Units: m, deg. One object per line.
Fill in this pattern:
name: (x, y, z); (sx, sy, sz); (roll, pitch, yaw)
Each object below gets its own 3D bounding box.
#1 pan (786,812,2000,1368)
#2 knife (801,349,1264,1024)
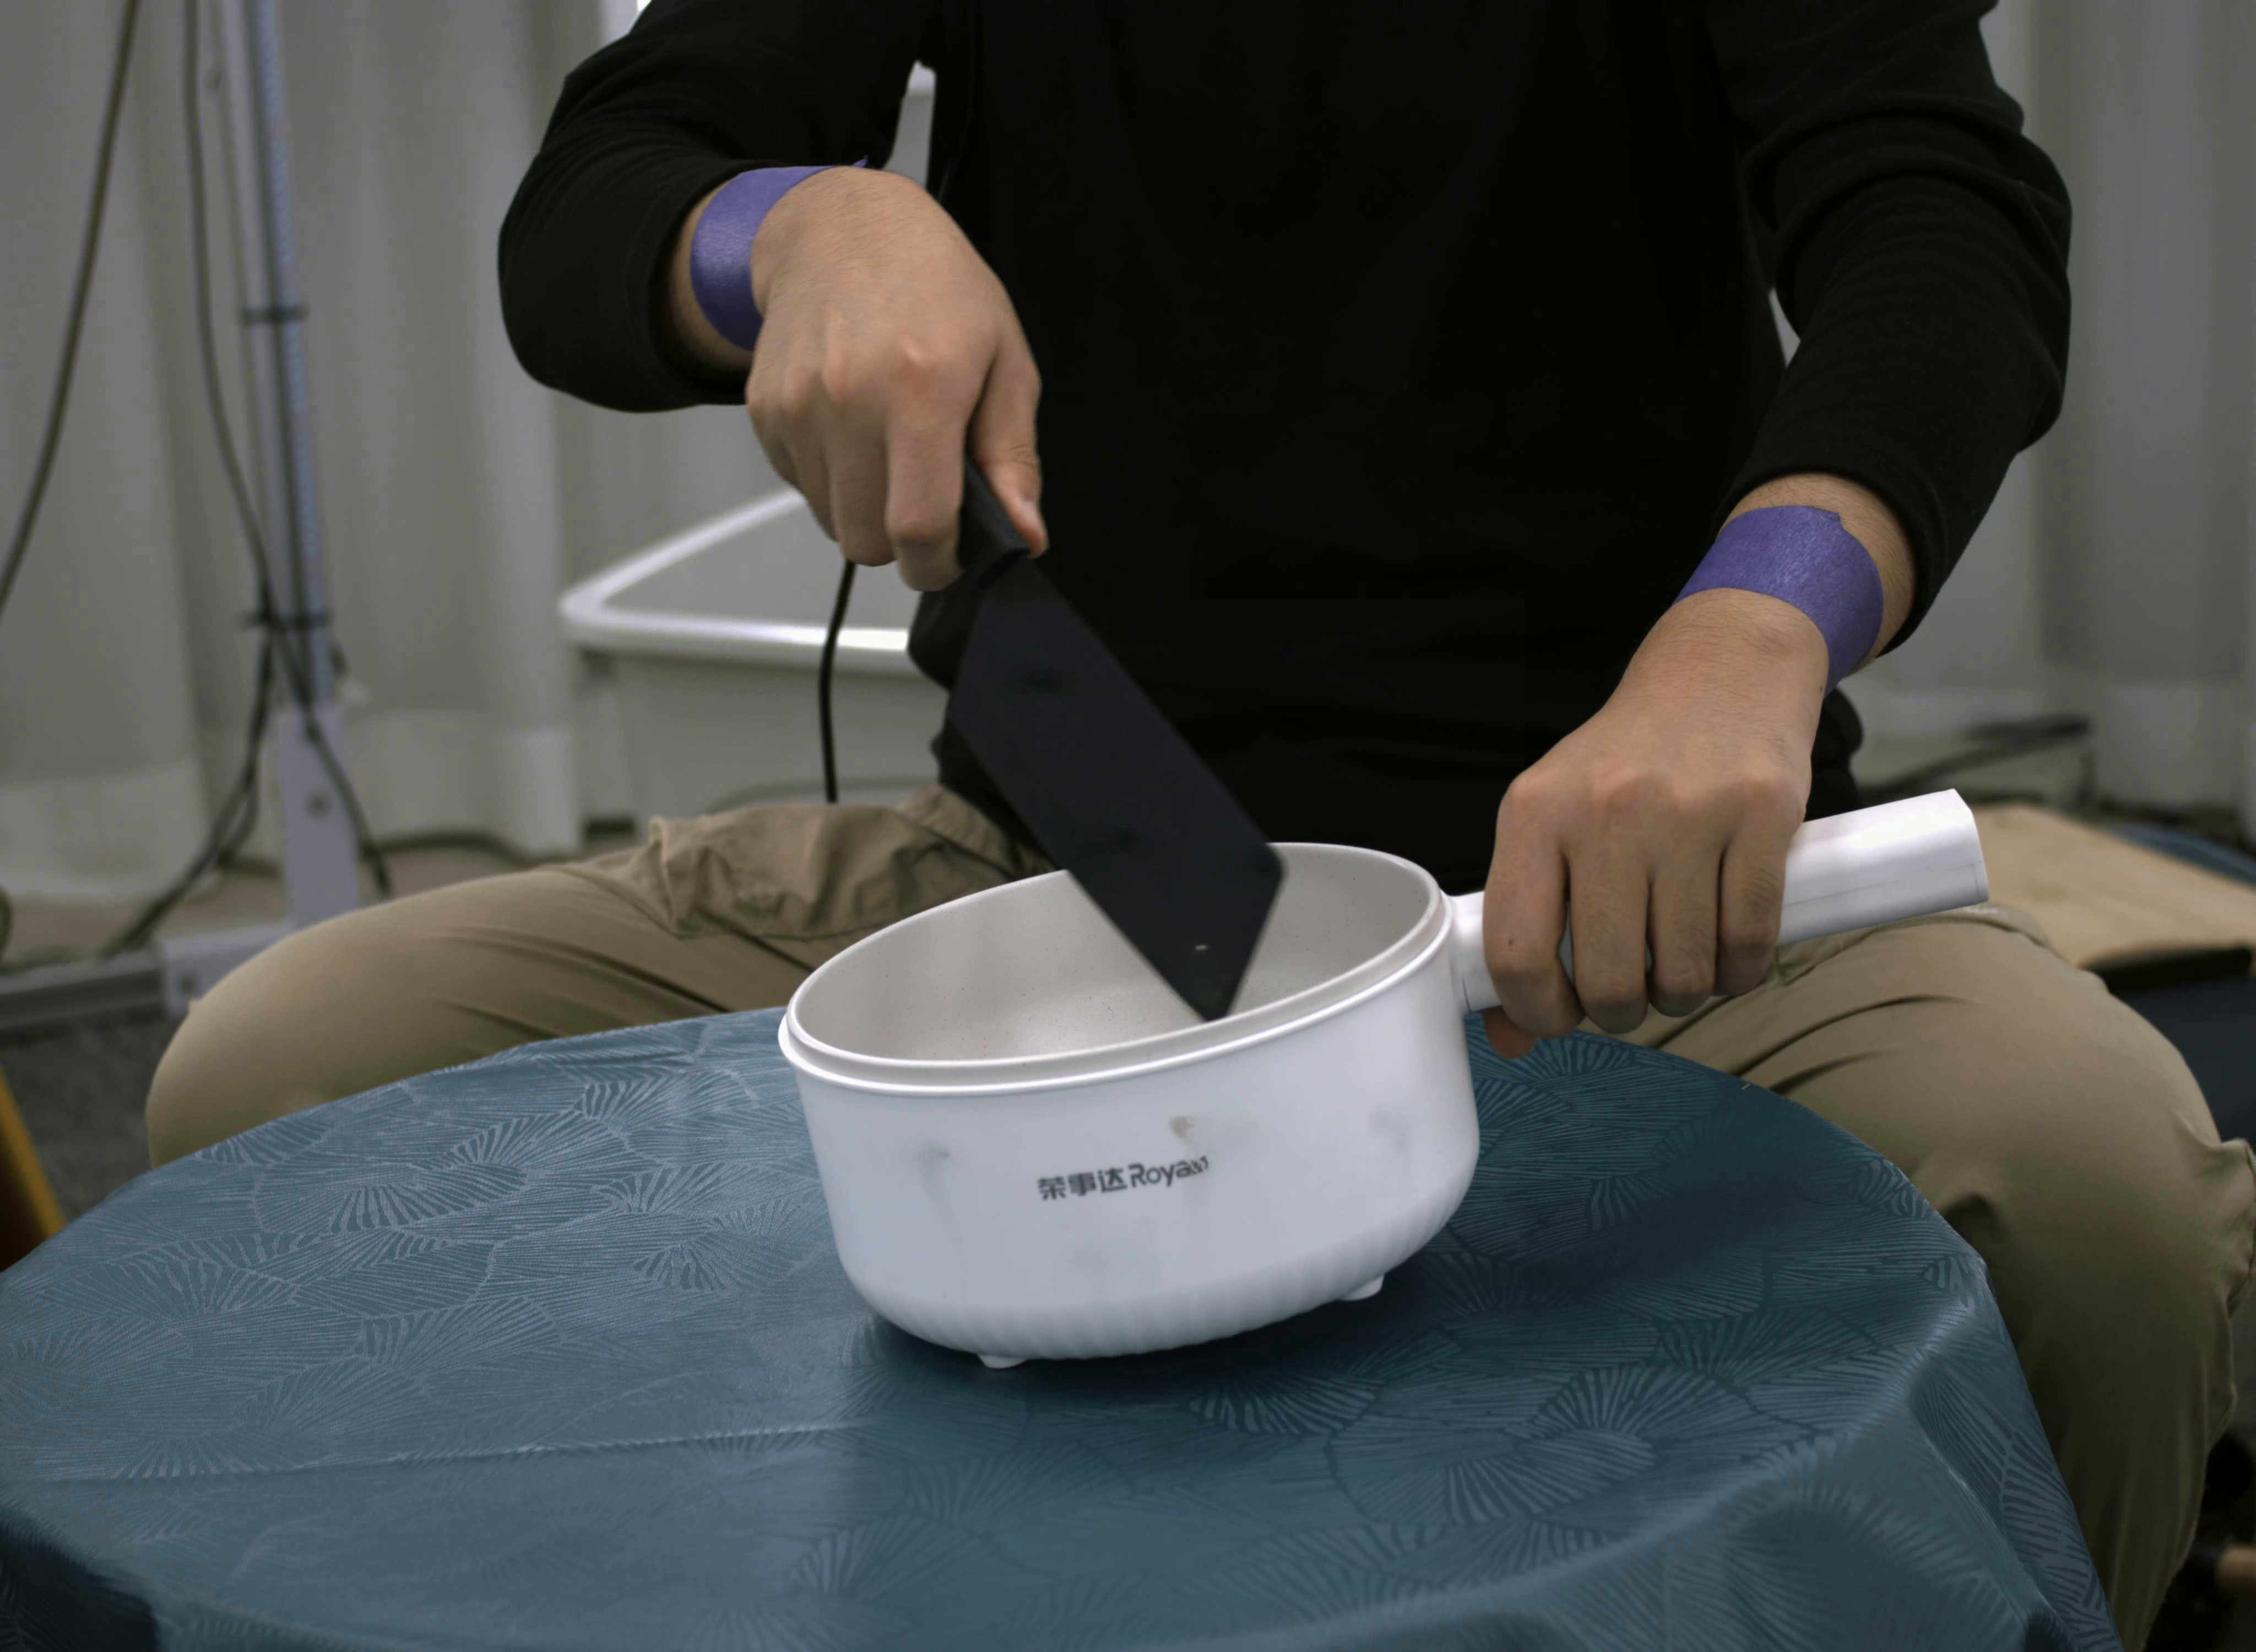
pan: (0.081, 0.072, 1.607); (0.354, 0.101, 0.202); (-9, 14, 1)
knife: (-0.034, -0.050, 1.652); (0.021, 0.080, 0.307); (2, 37, -33)
